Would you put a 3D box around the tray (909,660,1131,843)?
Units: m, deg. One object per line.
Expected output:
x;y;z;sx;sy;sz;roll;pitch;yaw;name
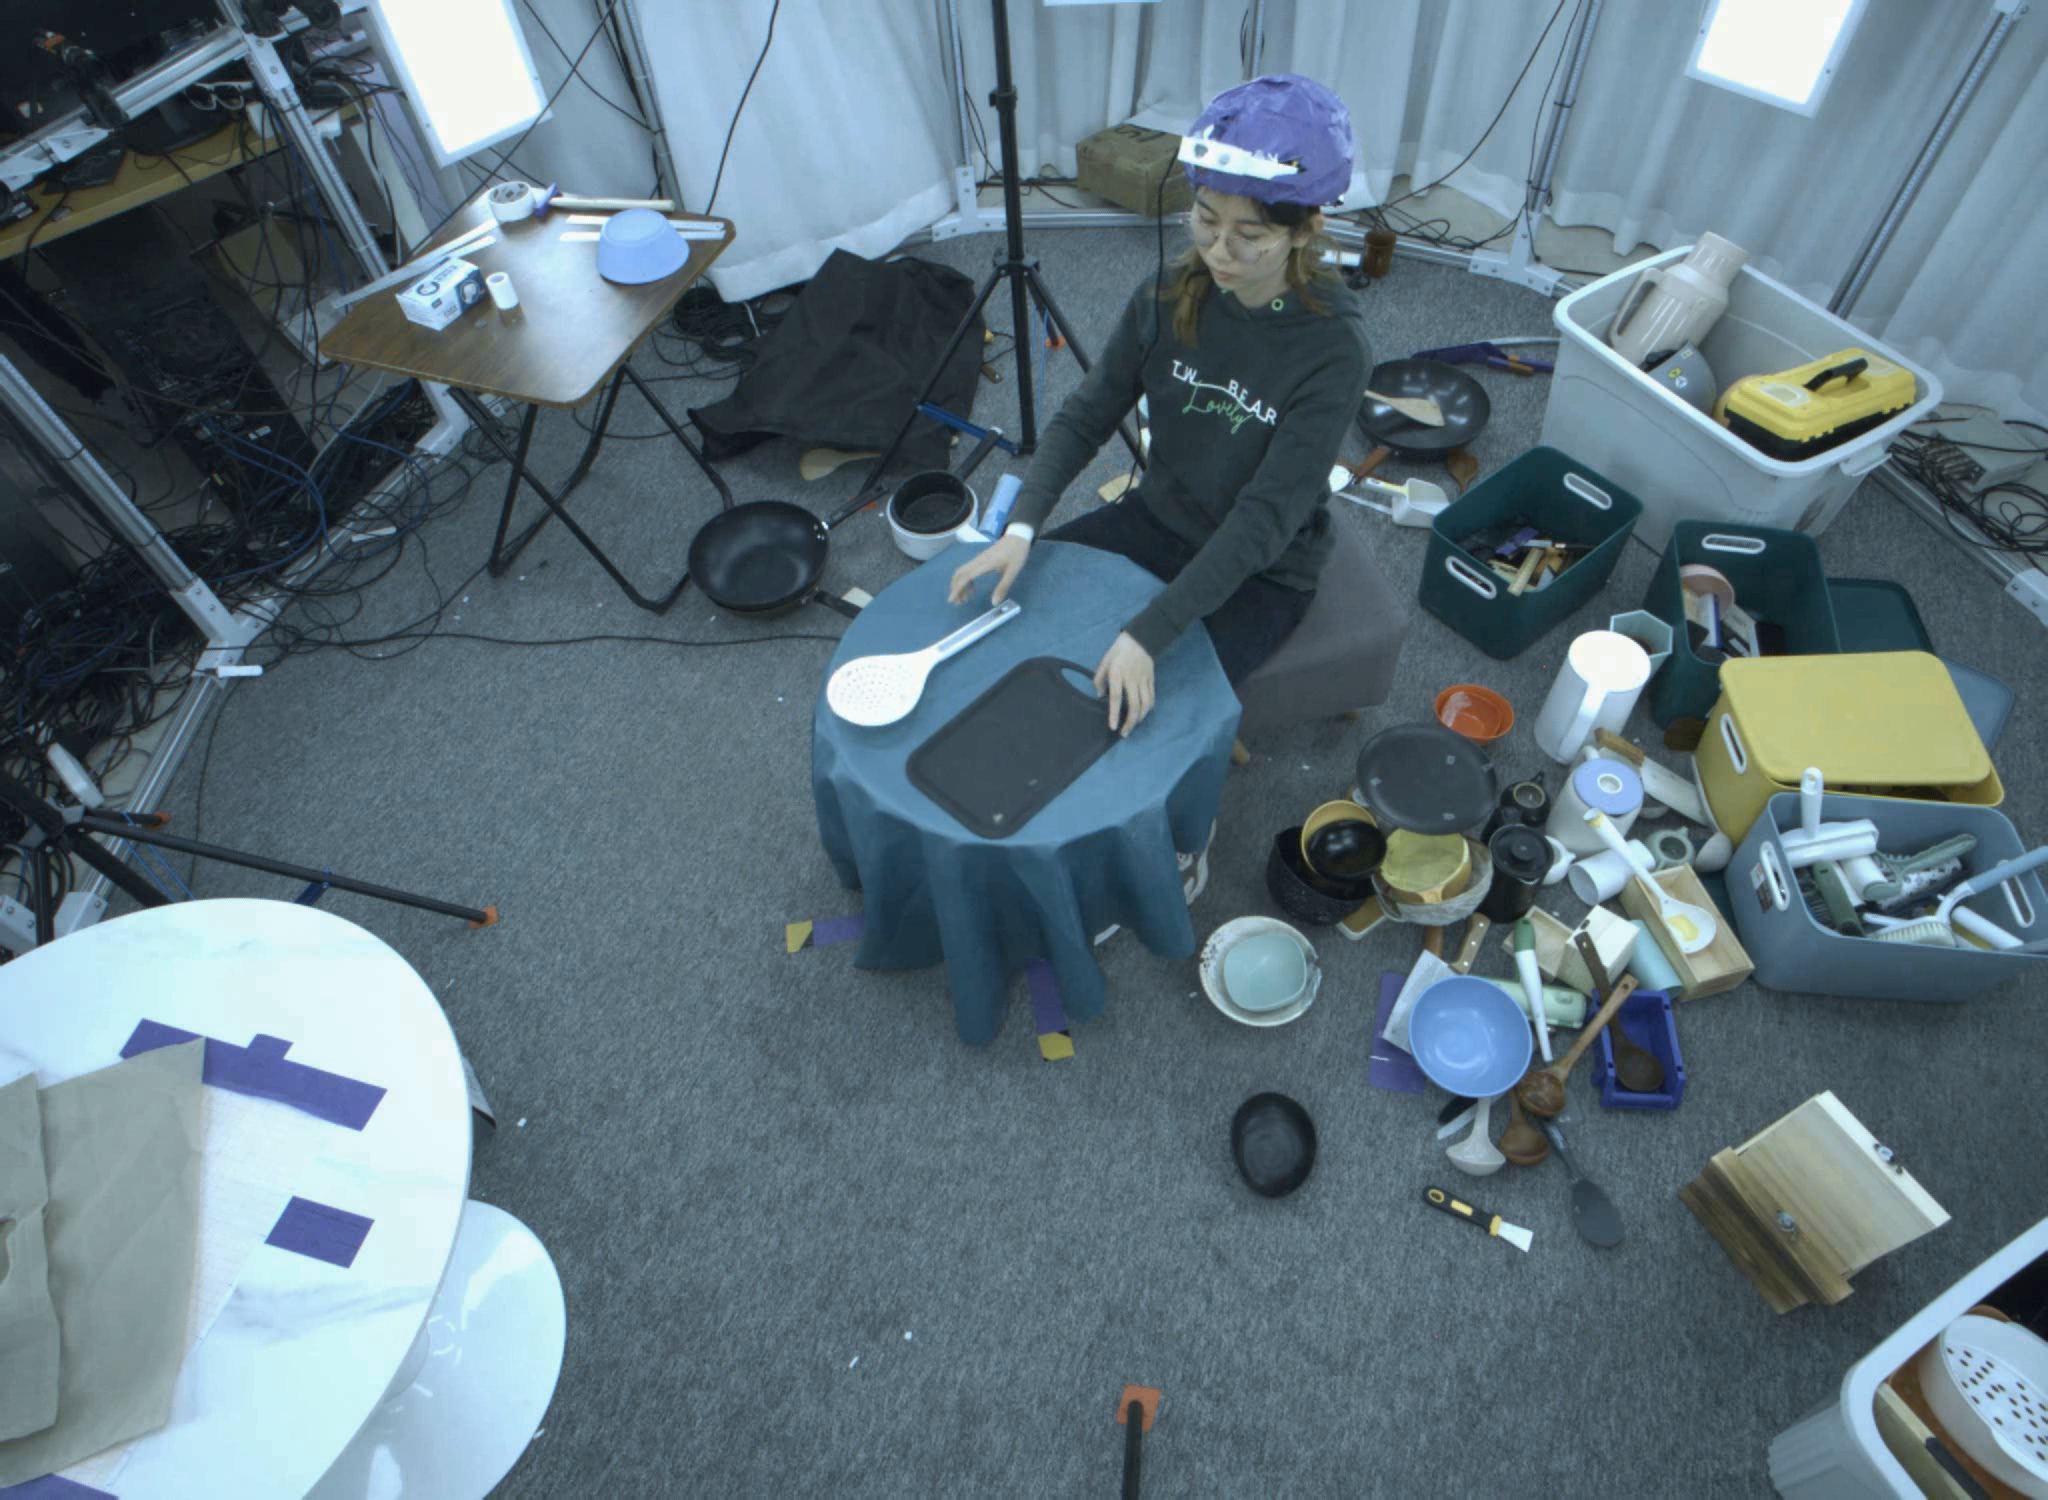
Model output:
0.000;-0.011;1.801;0.207;0.010;0.327;38;63;24;tray

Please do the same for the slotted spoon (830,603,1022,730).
-0.140;-0.136;1.869;0.352;0.046;0.134;-37;64;-23;slotted spoon
